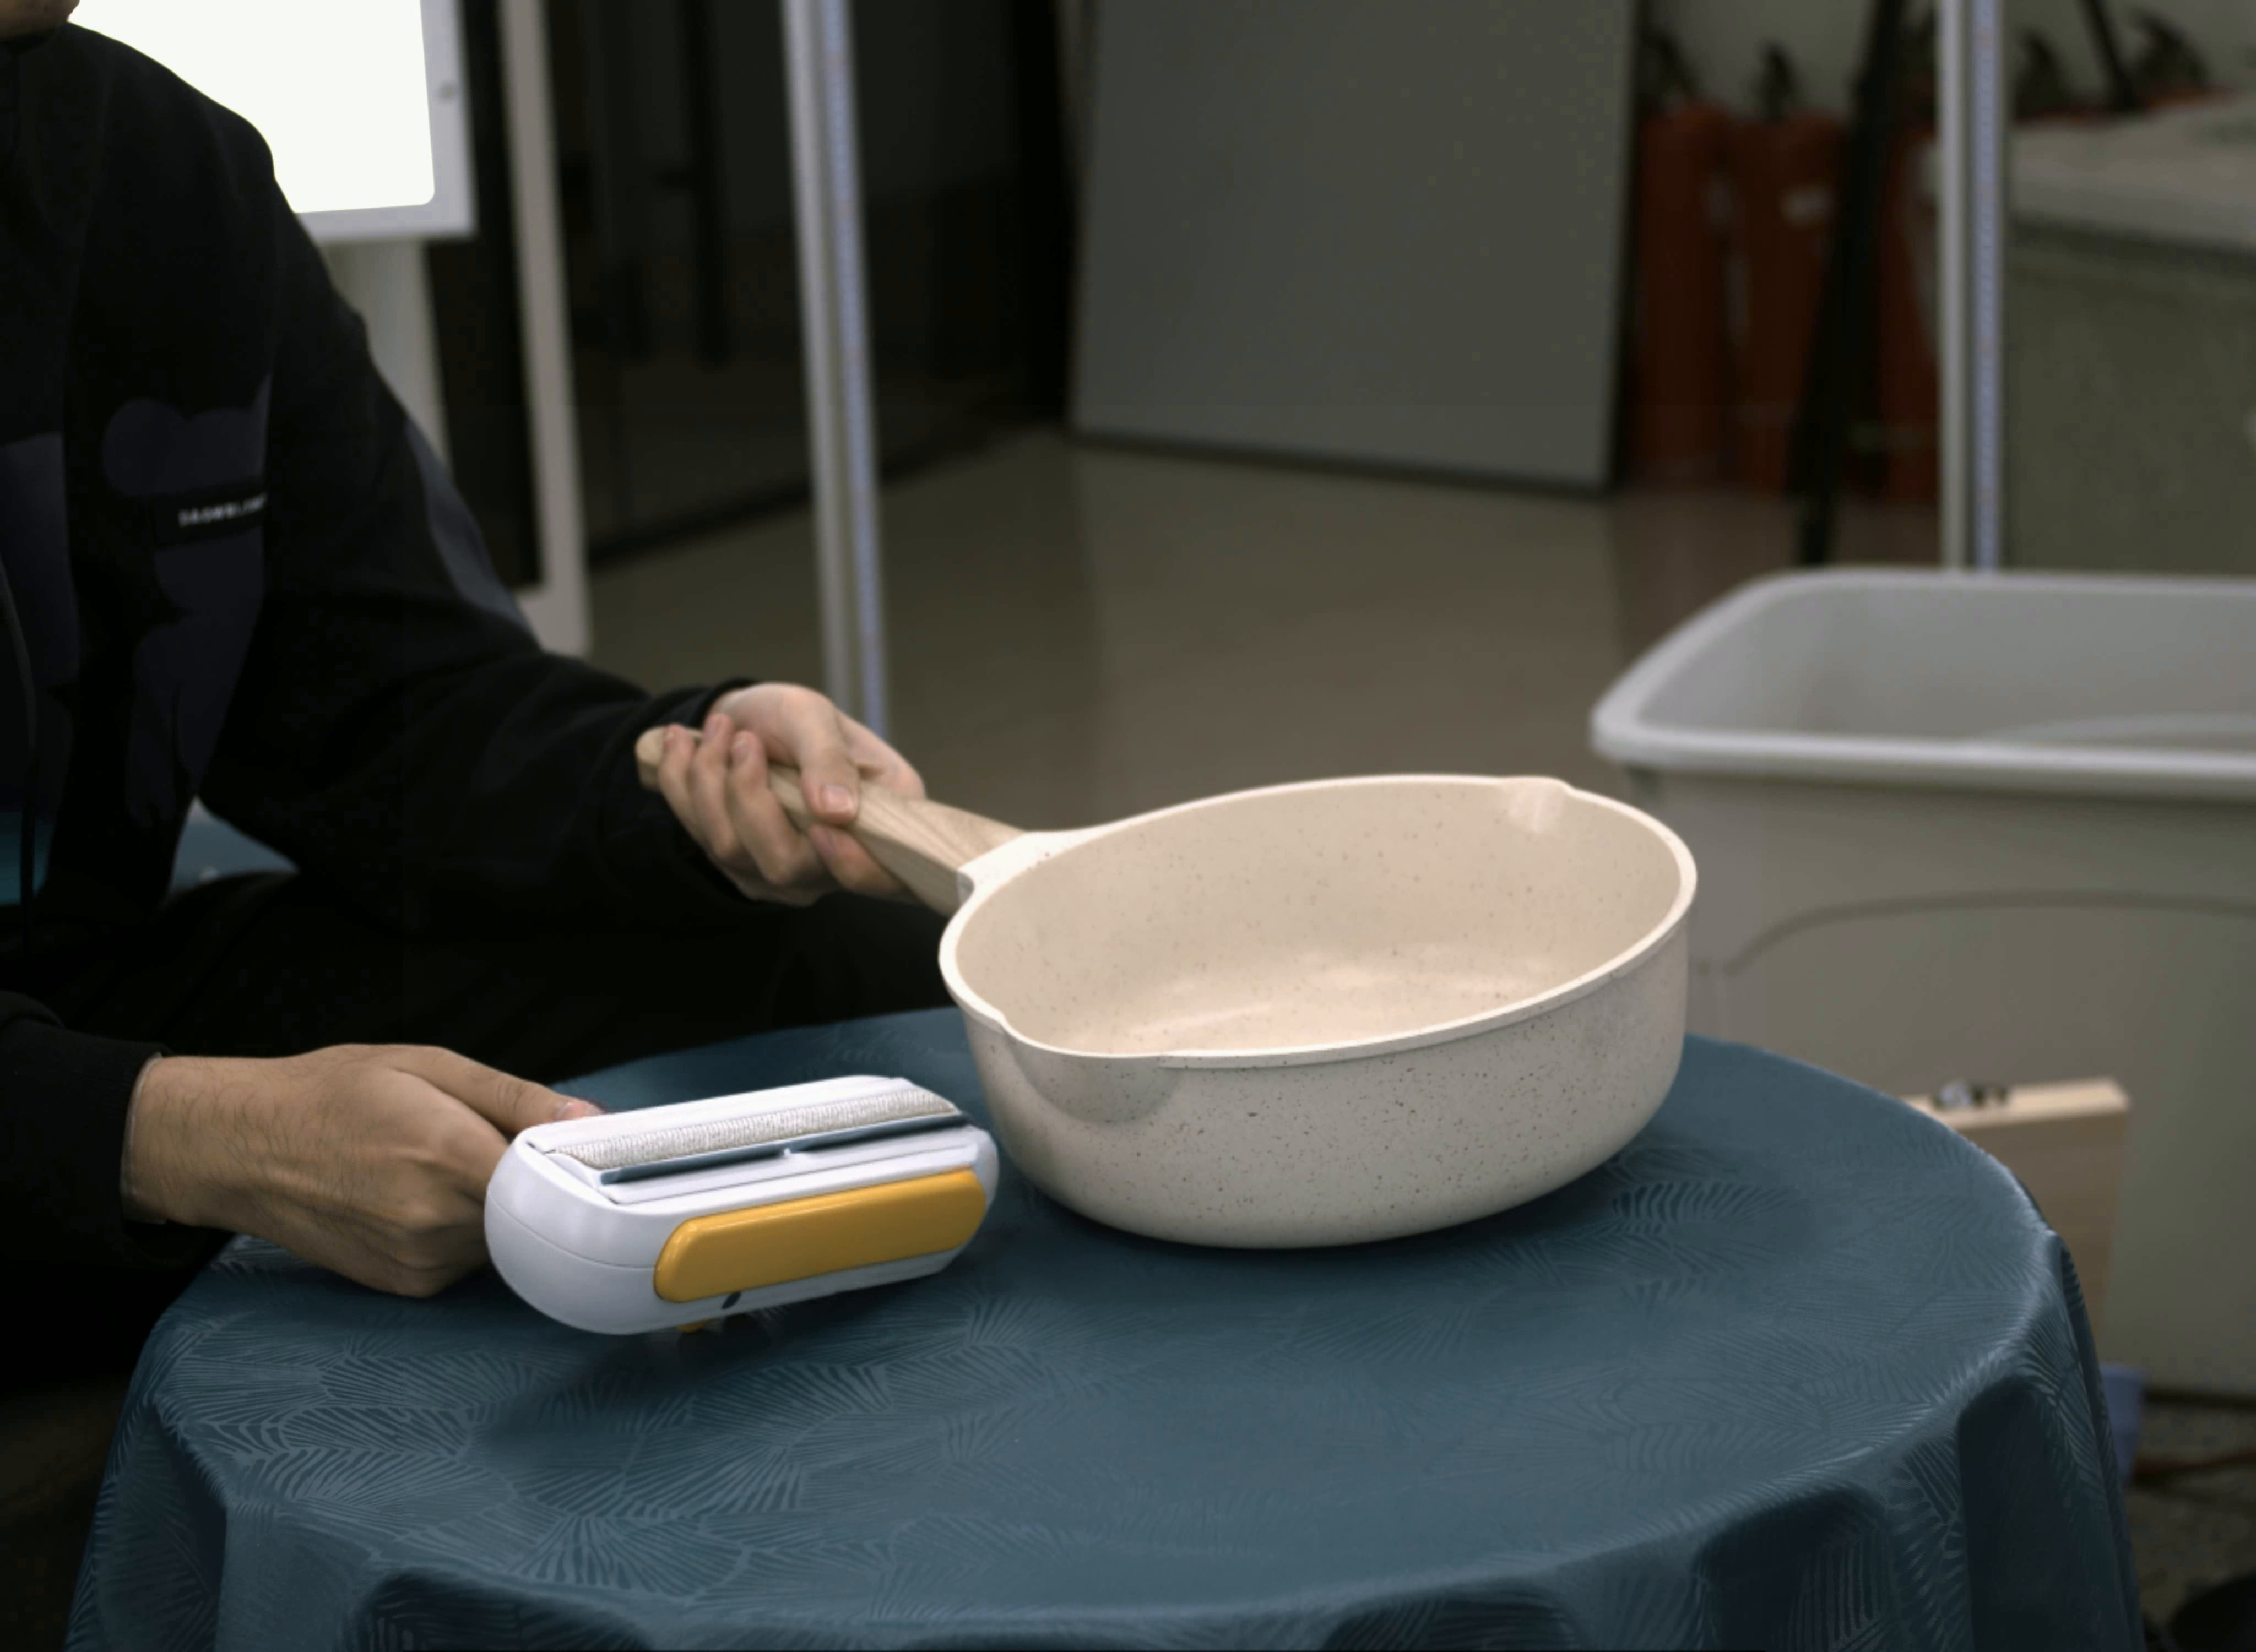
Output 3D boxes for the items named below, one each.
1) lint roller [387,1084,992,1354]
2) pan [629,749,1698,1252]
[{"bbox_3d":[-0.163,0.108,1.695,0.189,0.075,0.194,-10,23,-44],"label":"lint roller"},{"bbox_3d":[-0.002,0.044,1.834,0.438,0.103,0.259,8,27,41],"label":"pan"}]
